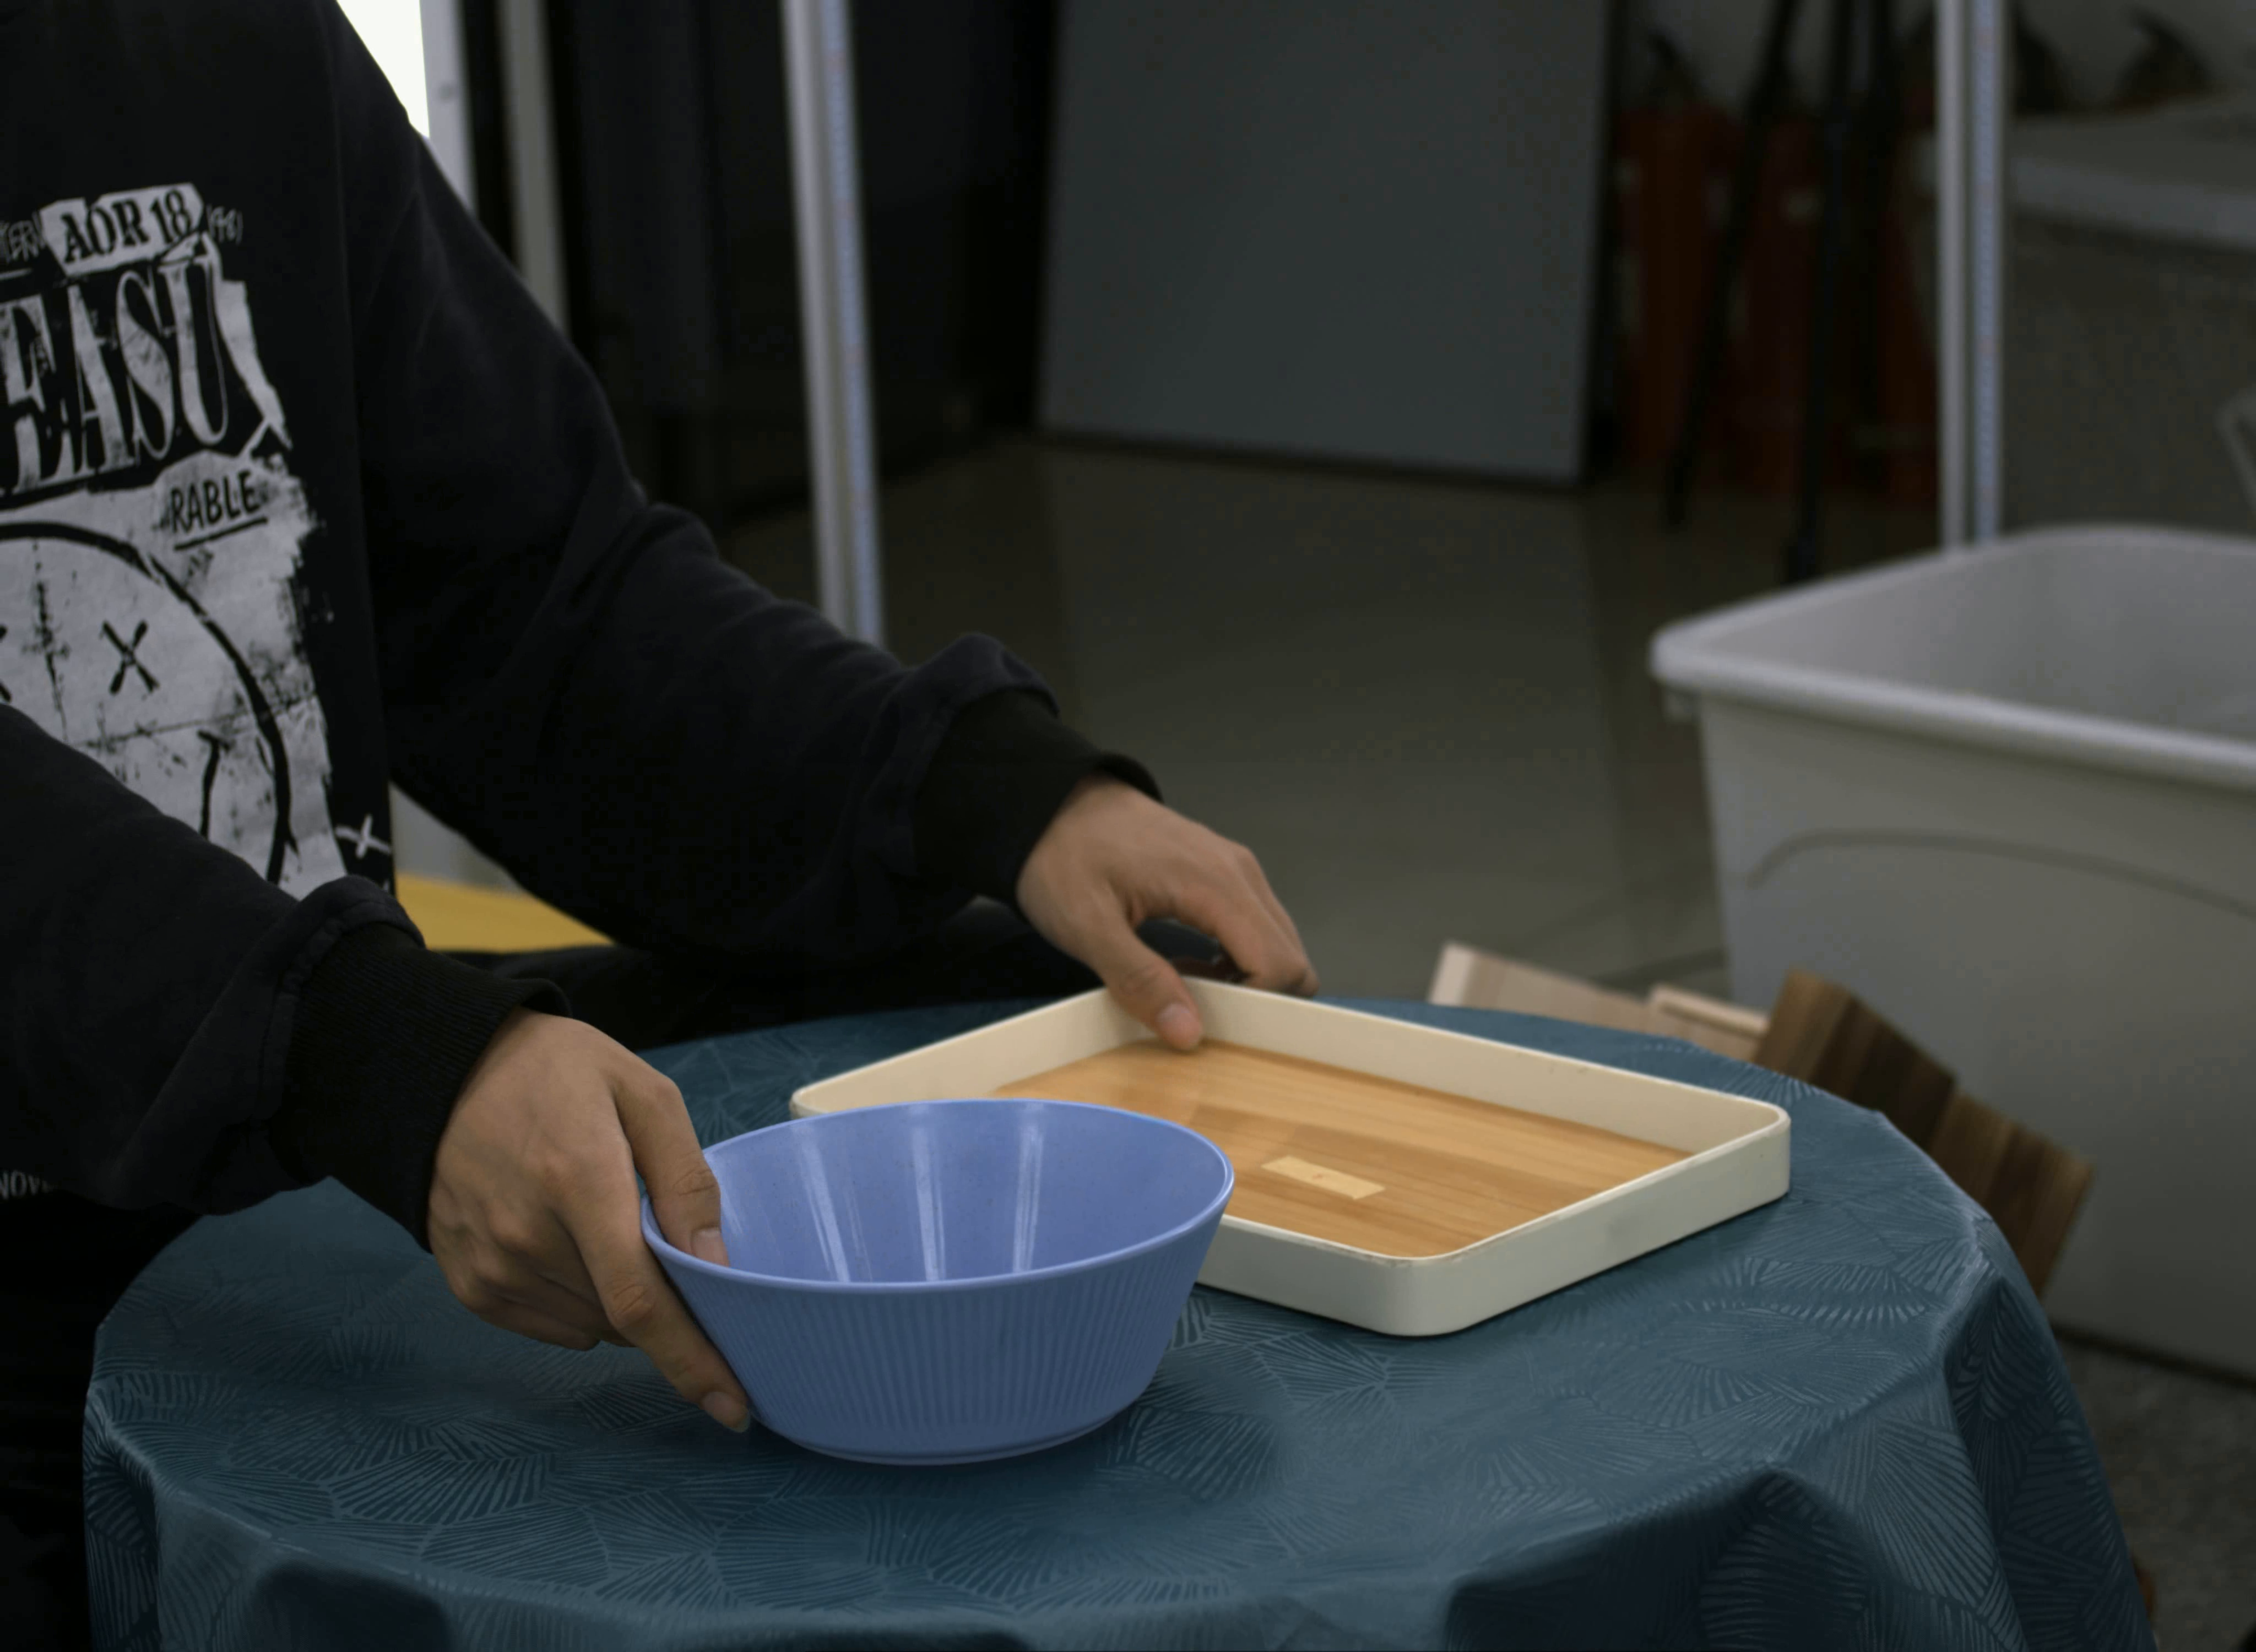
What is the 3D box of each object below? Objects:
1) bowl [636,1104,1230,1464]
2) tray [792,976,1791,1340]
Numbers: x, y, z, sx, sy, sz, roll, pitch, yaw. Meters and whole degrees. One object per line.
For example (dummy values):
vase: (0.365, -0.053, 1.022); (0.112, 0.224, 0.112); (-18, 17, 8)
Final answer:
bowl: (-0.055, 0.136, 1.578); (0.174, 0.071, 0.176); (-3, 13, 0)
tray: (0.050, 0.105, 1.768); (0.187, 0.028, 0.303); (-17, 19, -41)
